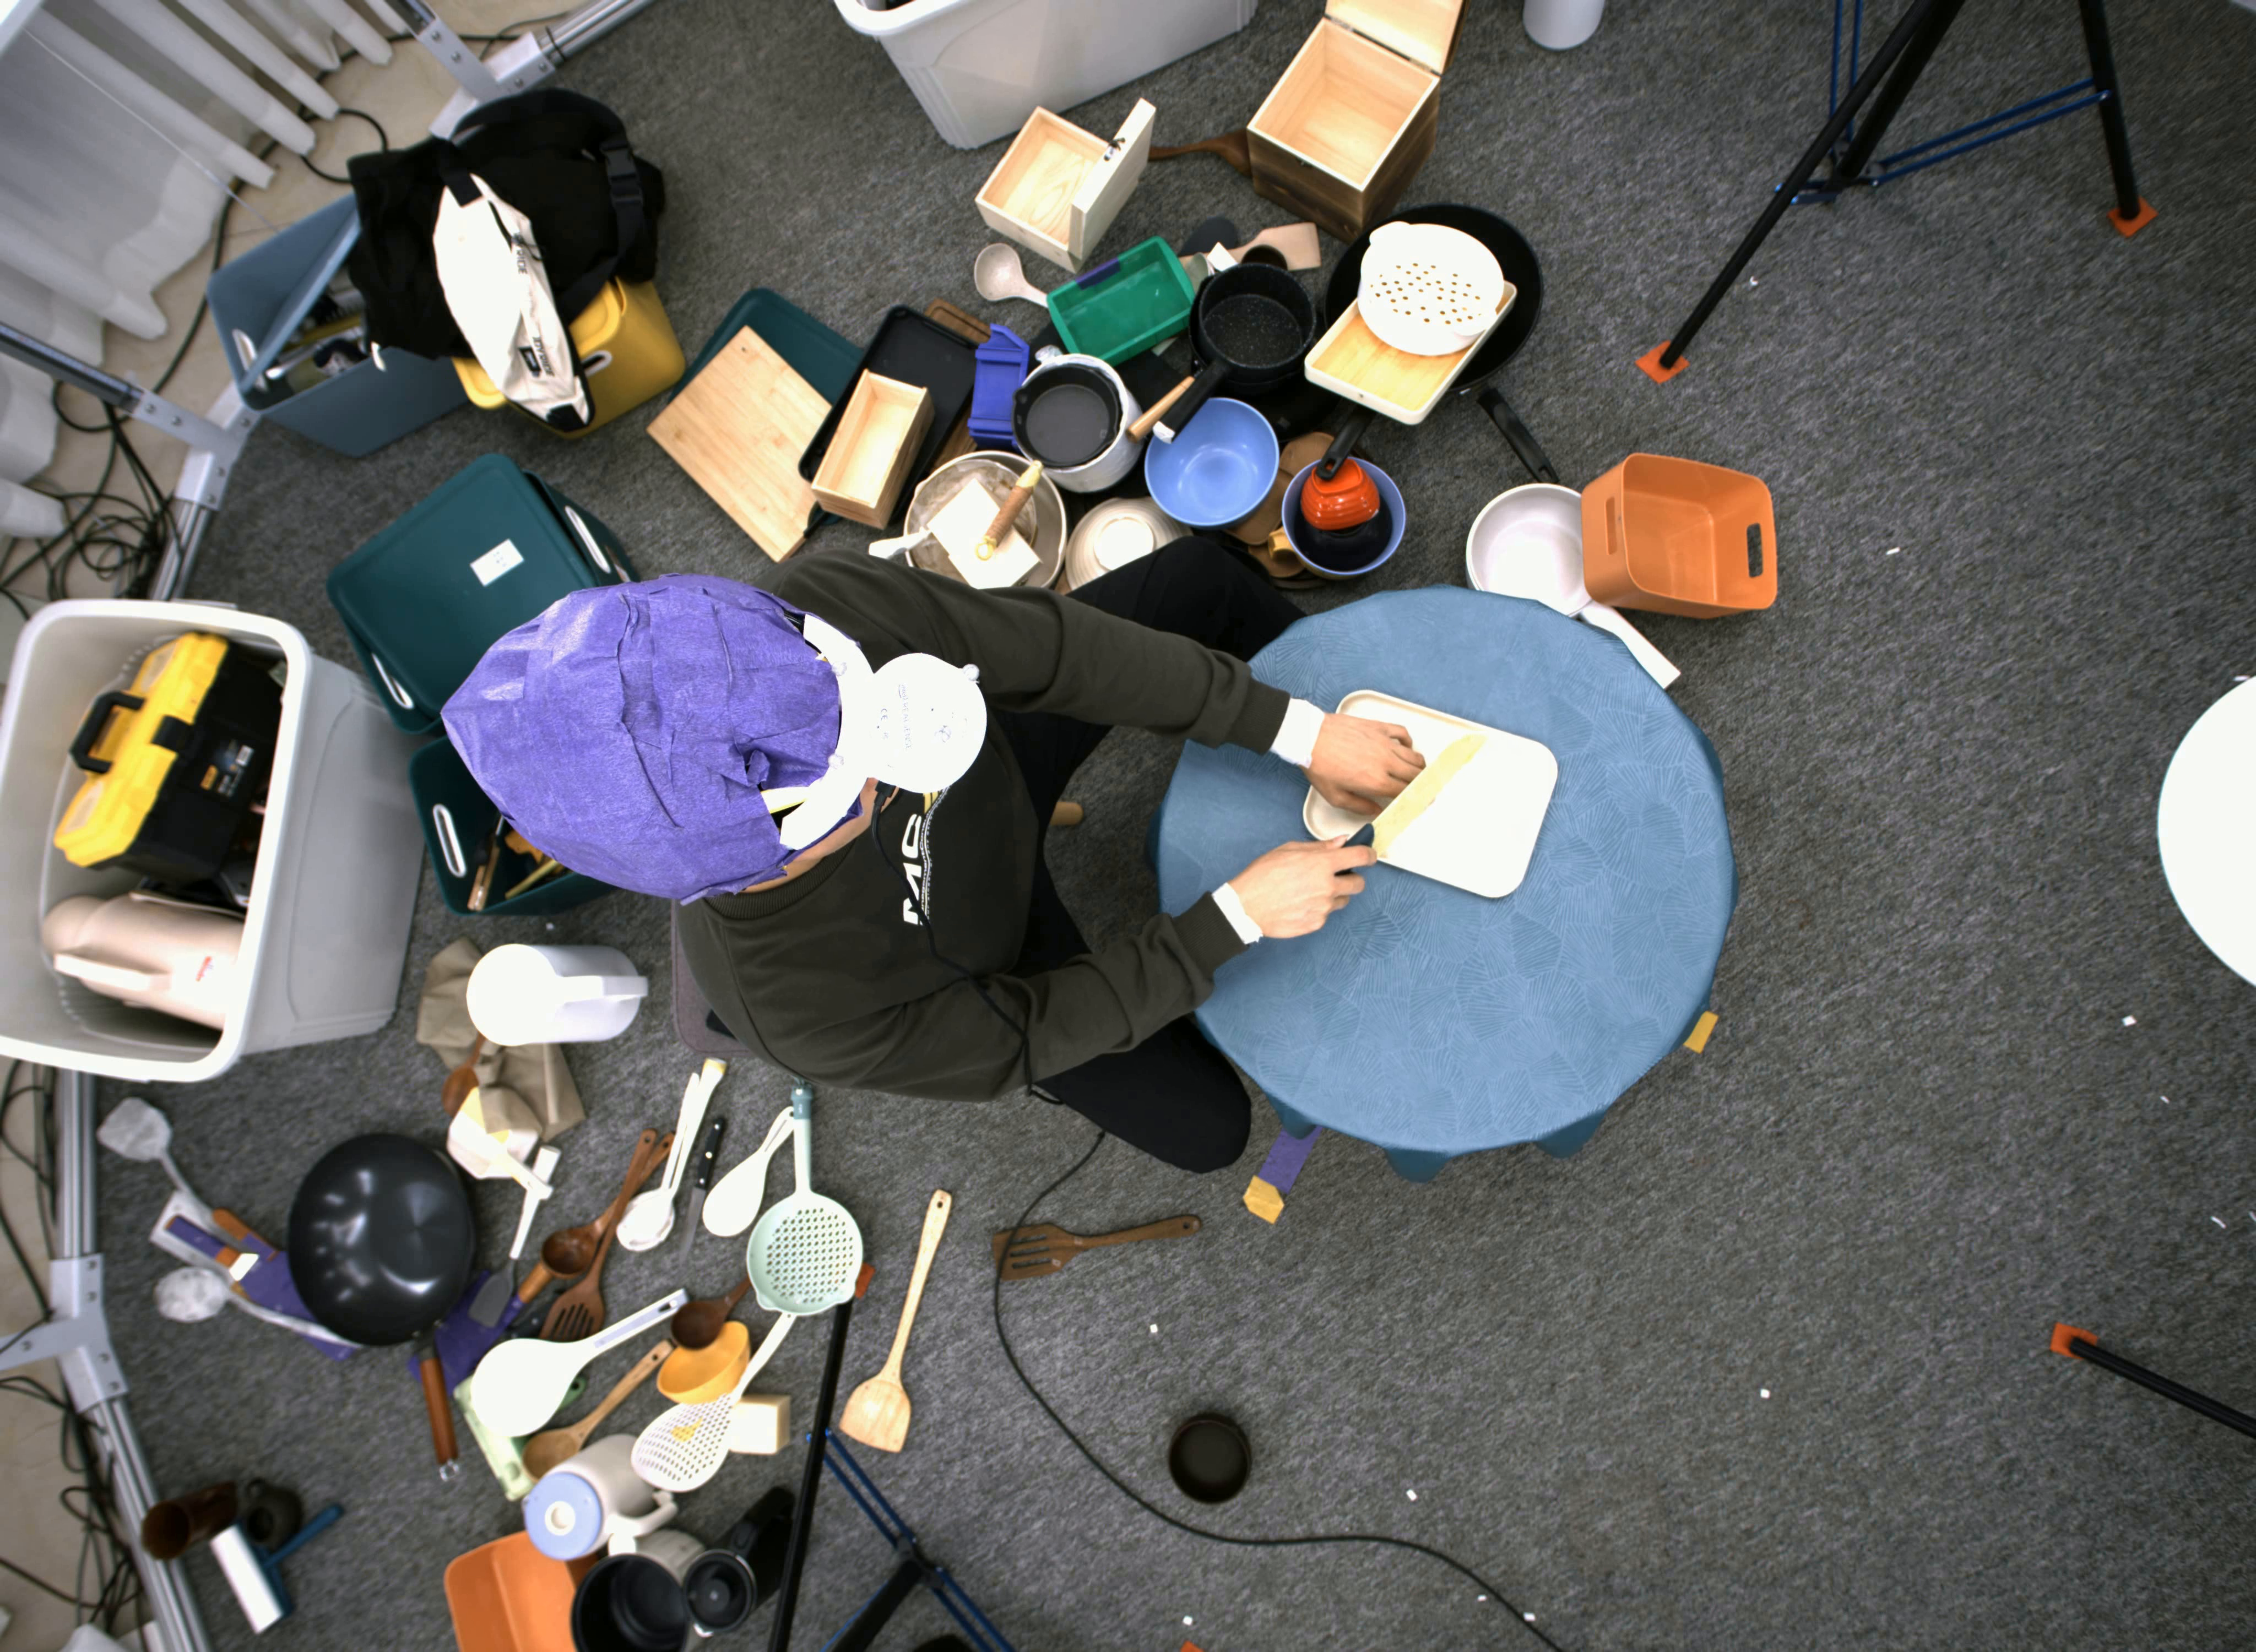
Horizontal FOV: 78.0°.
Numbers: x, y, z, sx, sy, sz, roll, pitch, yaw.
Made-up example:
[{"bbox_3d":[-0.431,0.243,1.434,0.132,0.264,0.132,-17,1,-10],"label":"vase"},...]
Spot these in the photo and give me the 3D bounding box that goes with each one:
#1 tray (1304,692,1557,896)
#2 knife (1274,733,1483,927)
[{"bbox_3d":[0.317,-0.036,1.448,0.240,0.017,0.171,18,91,11],"label":"tray"},{"bbox_3d":[0.259,0.002,1.400,0.289,0.082,0.027,-42,59,-3],"label":"knife"}]
